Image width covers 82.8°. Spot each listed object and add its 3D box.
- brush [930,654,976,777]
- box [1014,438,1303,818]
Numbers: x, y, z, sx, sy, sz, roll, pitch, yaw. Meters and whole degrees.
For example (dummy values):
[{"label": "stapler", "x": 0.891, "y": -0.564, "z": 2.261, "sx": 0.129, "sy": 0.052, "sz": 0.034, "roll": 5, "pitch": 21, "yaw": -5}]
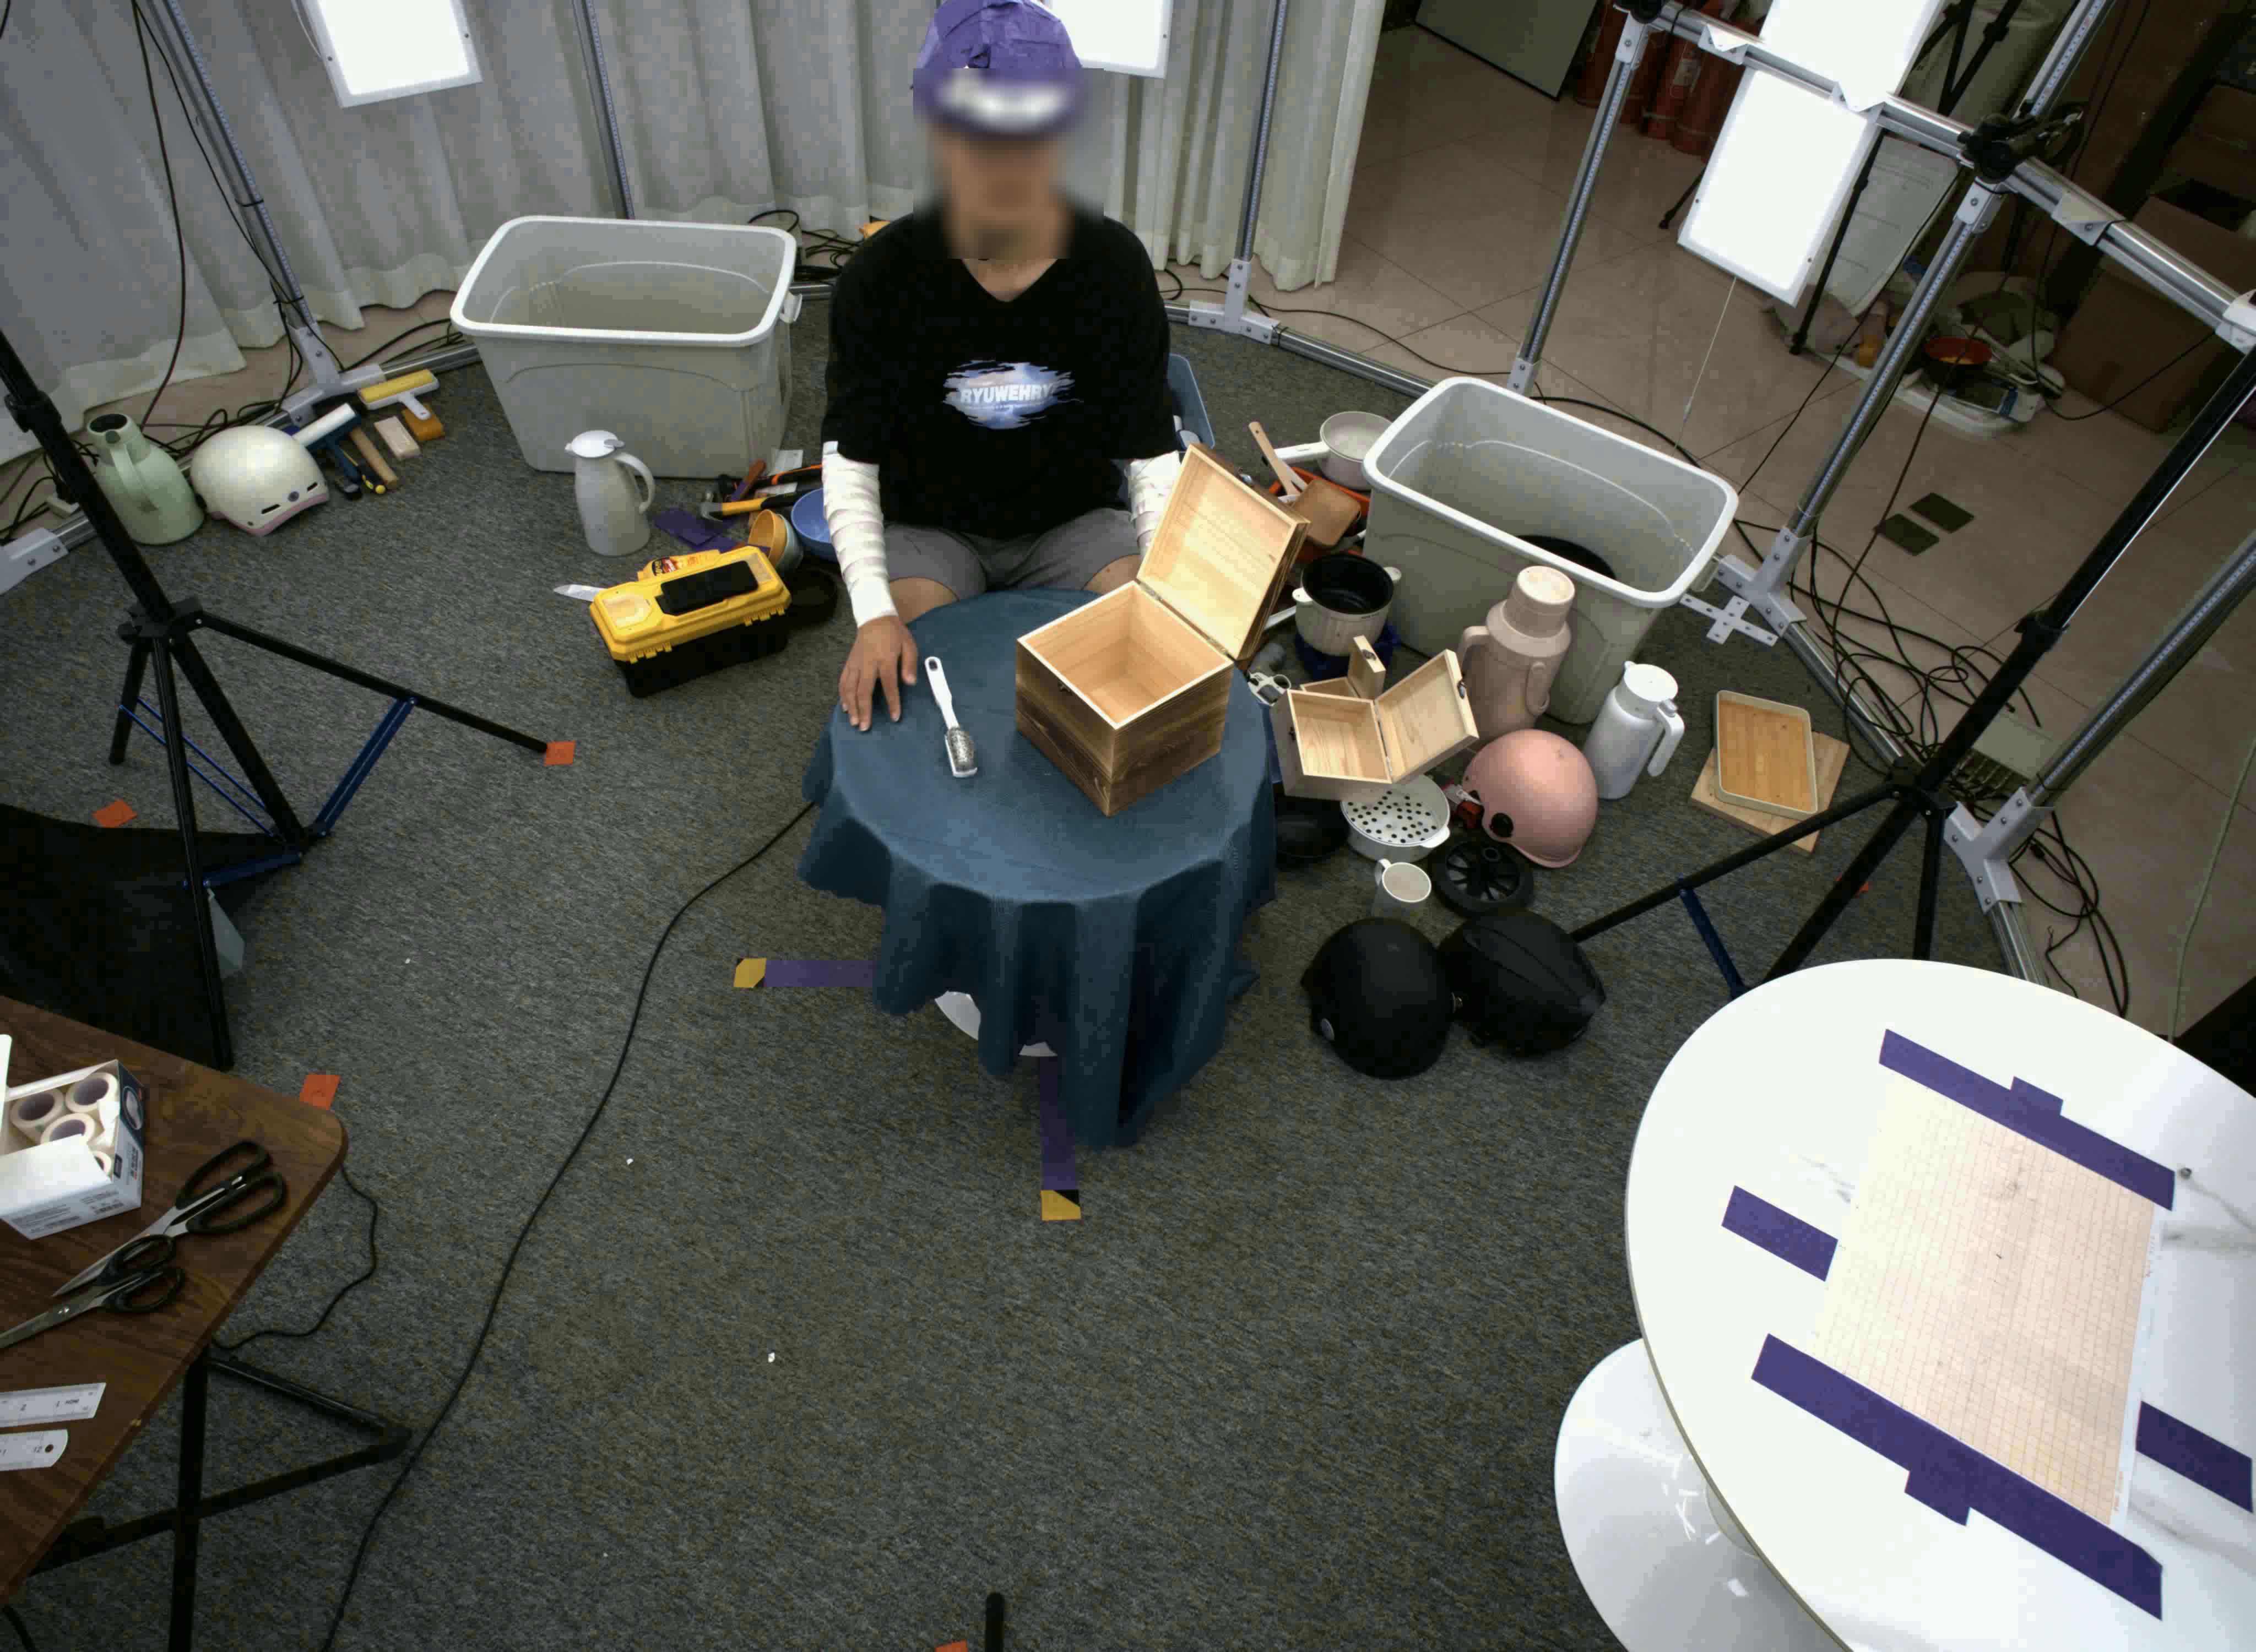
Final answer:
[{"label": "brush", "x": -0.244, "y": -0.165, "z": 1.769, "sx": 0.034, "sy": 0.049, "sz": 0.250, "roll": -9, "pitch": 51, "yaw": -11}, {"label": "box", "x": 0.034, "y": -0.259, "z": 1.665, "sx": 0.324, "sy": 0.366, "sz": 0.212, "roll": -32, "pitch": 57, "yaw": -26}]
